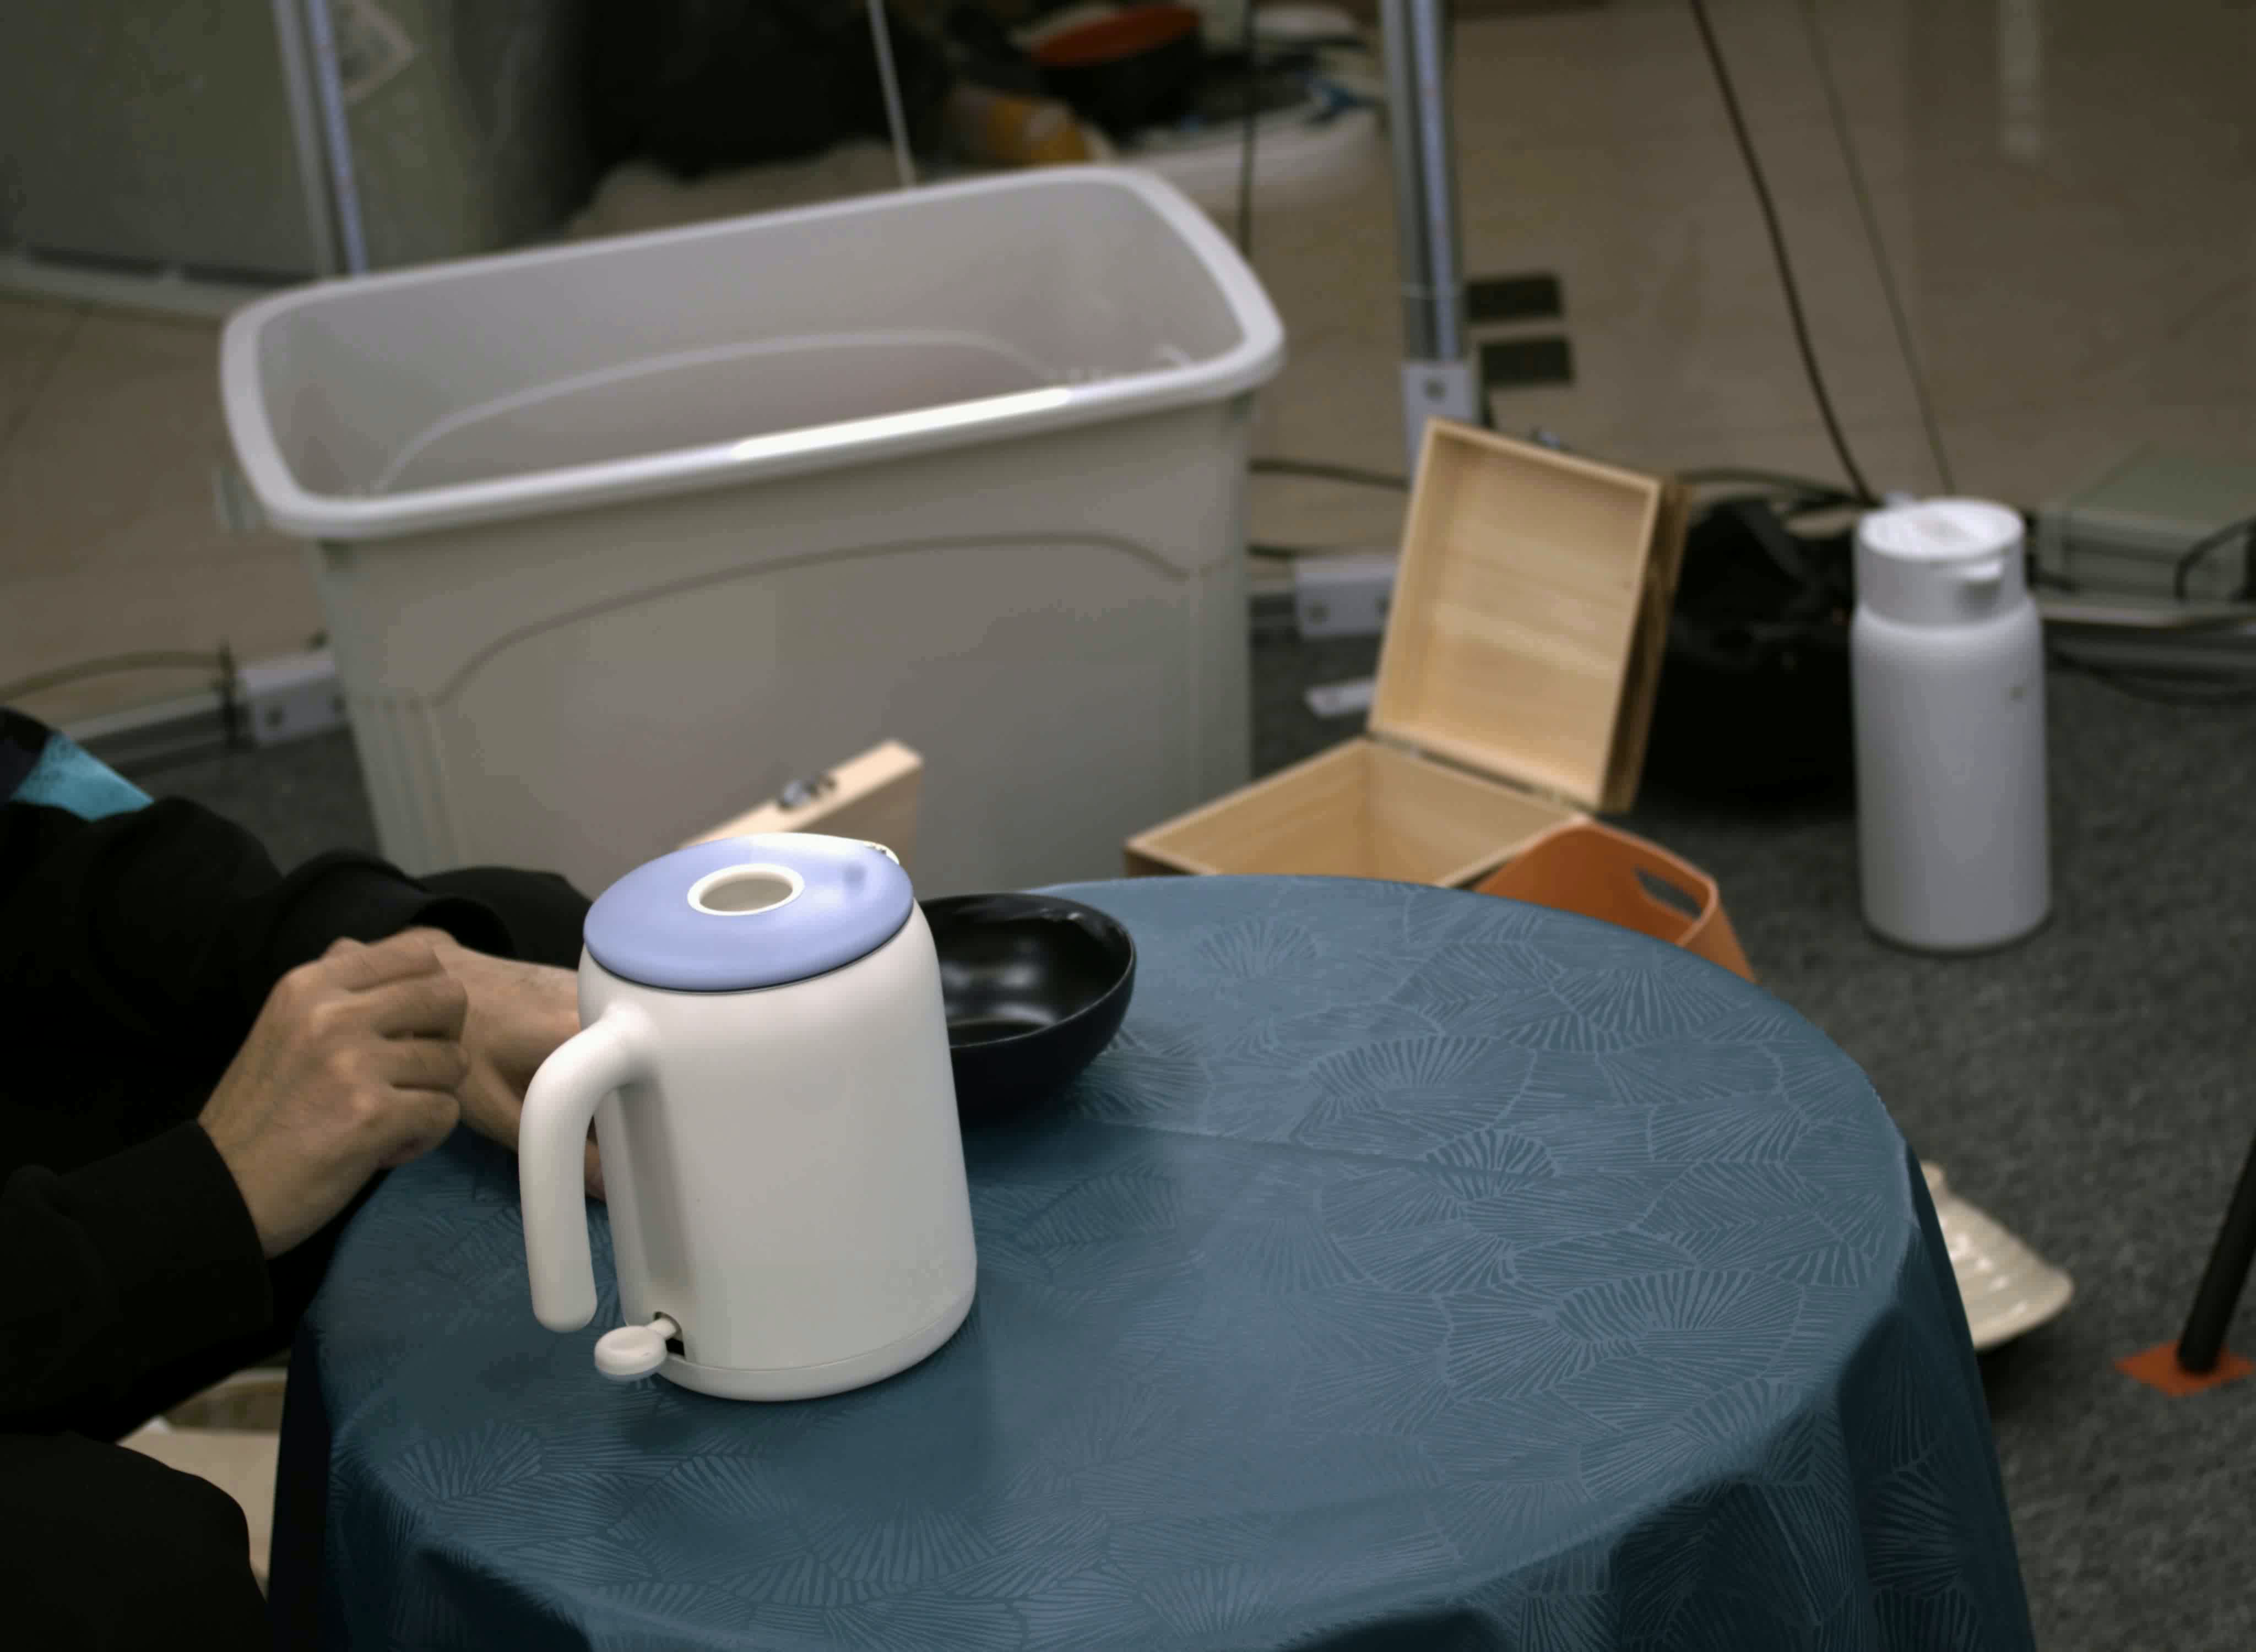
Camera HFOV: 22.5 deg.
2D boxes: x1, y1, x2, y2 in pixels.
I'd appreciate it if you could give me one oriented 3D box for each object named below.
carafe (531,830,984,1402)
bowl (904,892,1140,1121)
[{"bbox_3d":[-0.142,0.114,2.029,0.131,0.185,0.189,15,35,39],"label":"carafe"},{"bbox_3d":[-0.062,0.078,2.233,0.140,0.050,0.138,-7,25,4],"label":"bowl"}]
